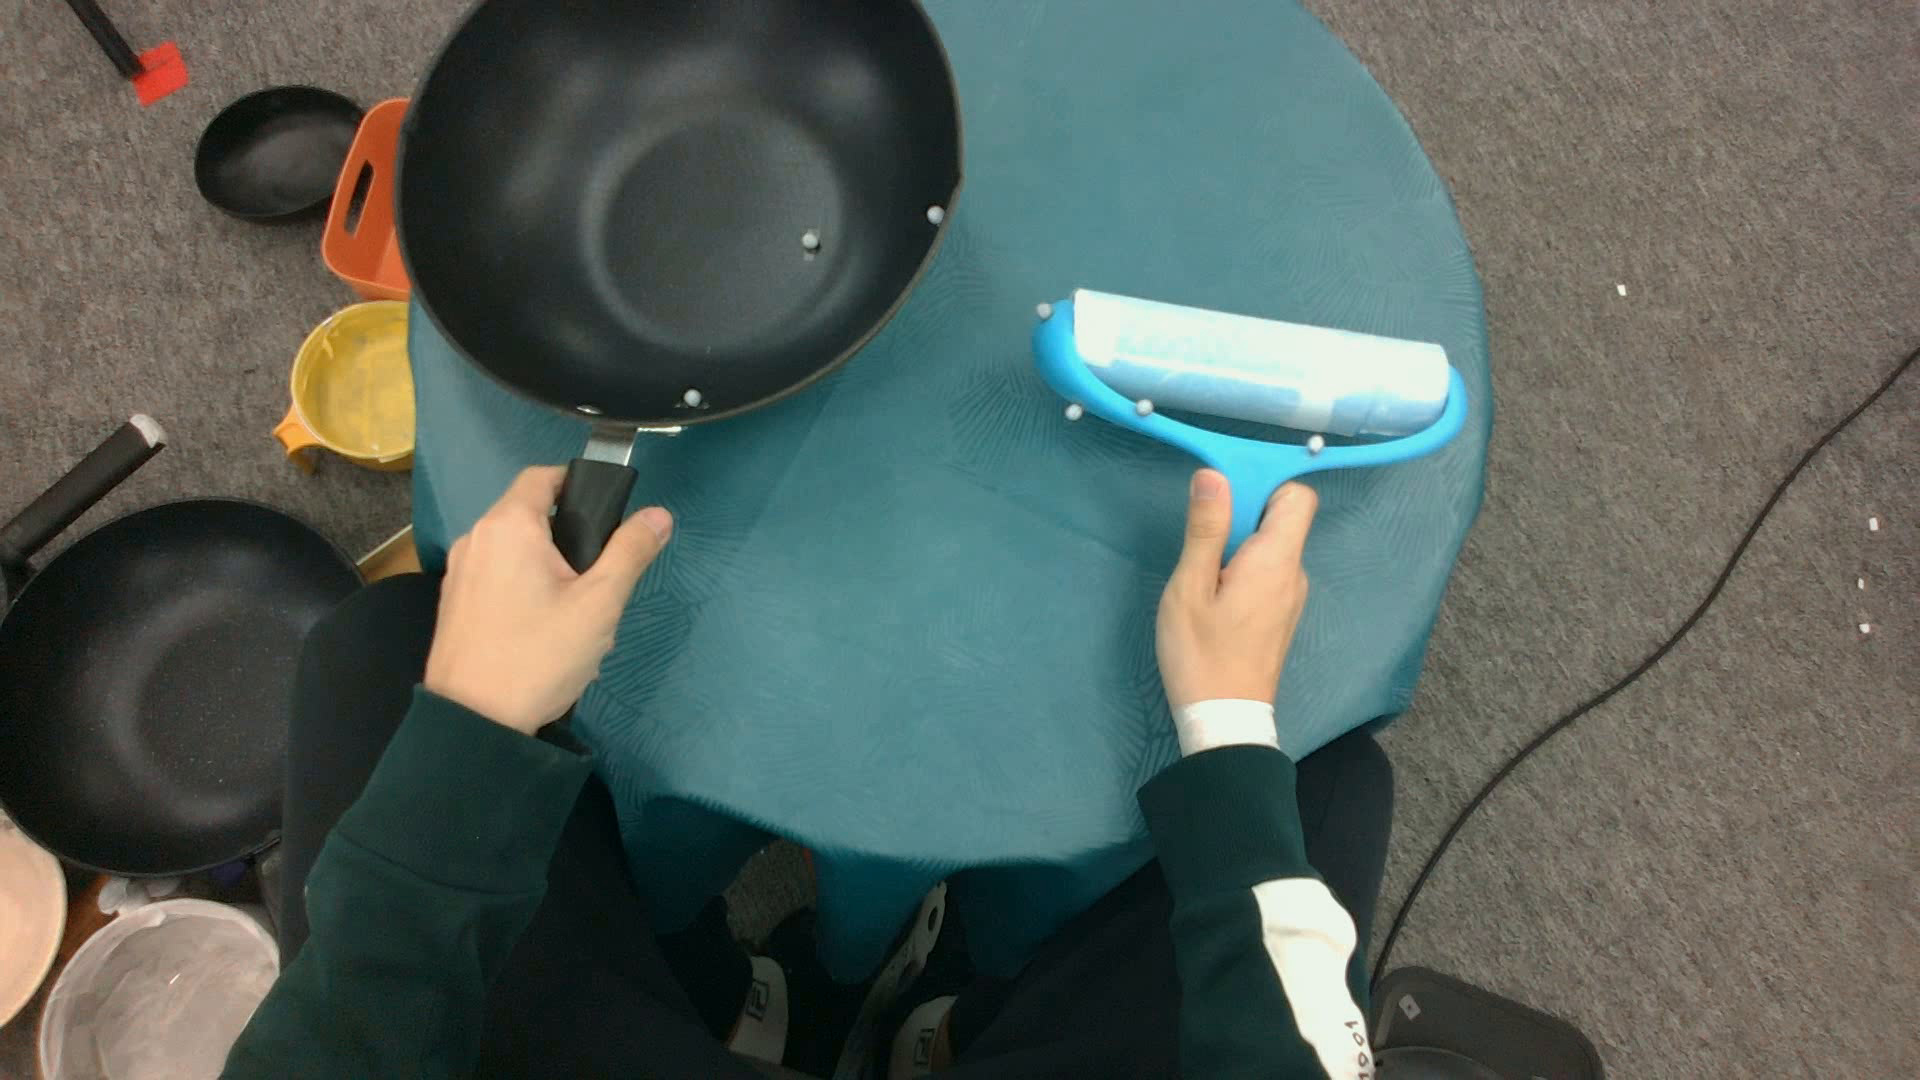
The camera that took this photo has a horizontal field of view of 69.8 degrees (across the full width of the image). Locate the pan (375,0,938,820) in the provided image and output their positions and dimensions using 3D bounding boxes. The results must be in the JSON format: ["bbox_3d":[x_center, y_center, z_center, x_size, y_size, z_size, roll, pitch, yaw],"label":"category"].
[{"bbox_3d":[-0.162,-0.093,0.685,0.288,0.087,0.464,8,78,9],"label":"pan"}]

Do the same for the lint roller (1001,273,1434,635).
[{"bbox_3d":[0.132,-0.043,0.709,0.229,0.068,0.180,4,81,-8],"label":"lint roller"}]
